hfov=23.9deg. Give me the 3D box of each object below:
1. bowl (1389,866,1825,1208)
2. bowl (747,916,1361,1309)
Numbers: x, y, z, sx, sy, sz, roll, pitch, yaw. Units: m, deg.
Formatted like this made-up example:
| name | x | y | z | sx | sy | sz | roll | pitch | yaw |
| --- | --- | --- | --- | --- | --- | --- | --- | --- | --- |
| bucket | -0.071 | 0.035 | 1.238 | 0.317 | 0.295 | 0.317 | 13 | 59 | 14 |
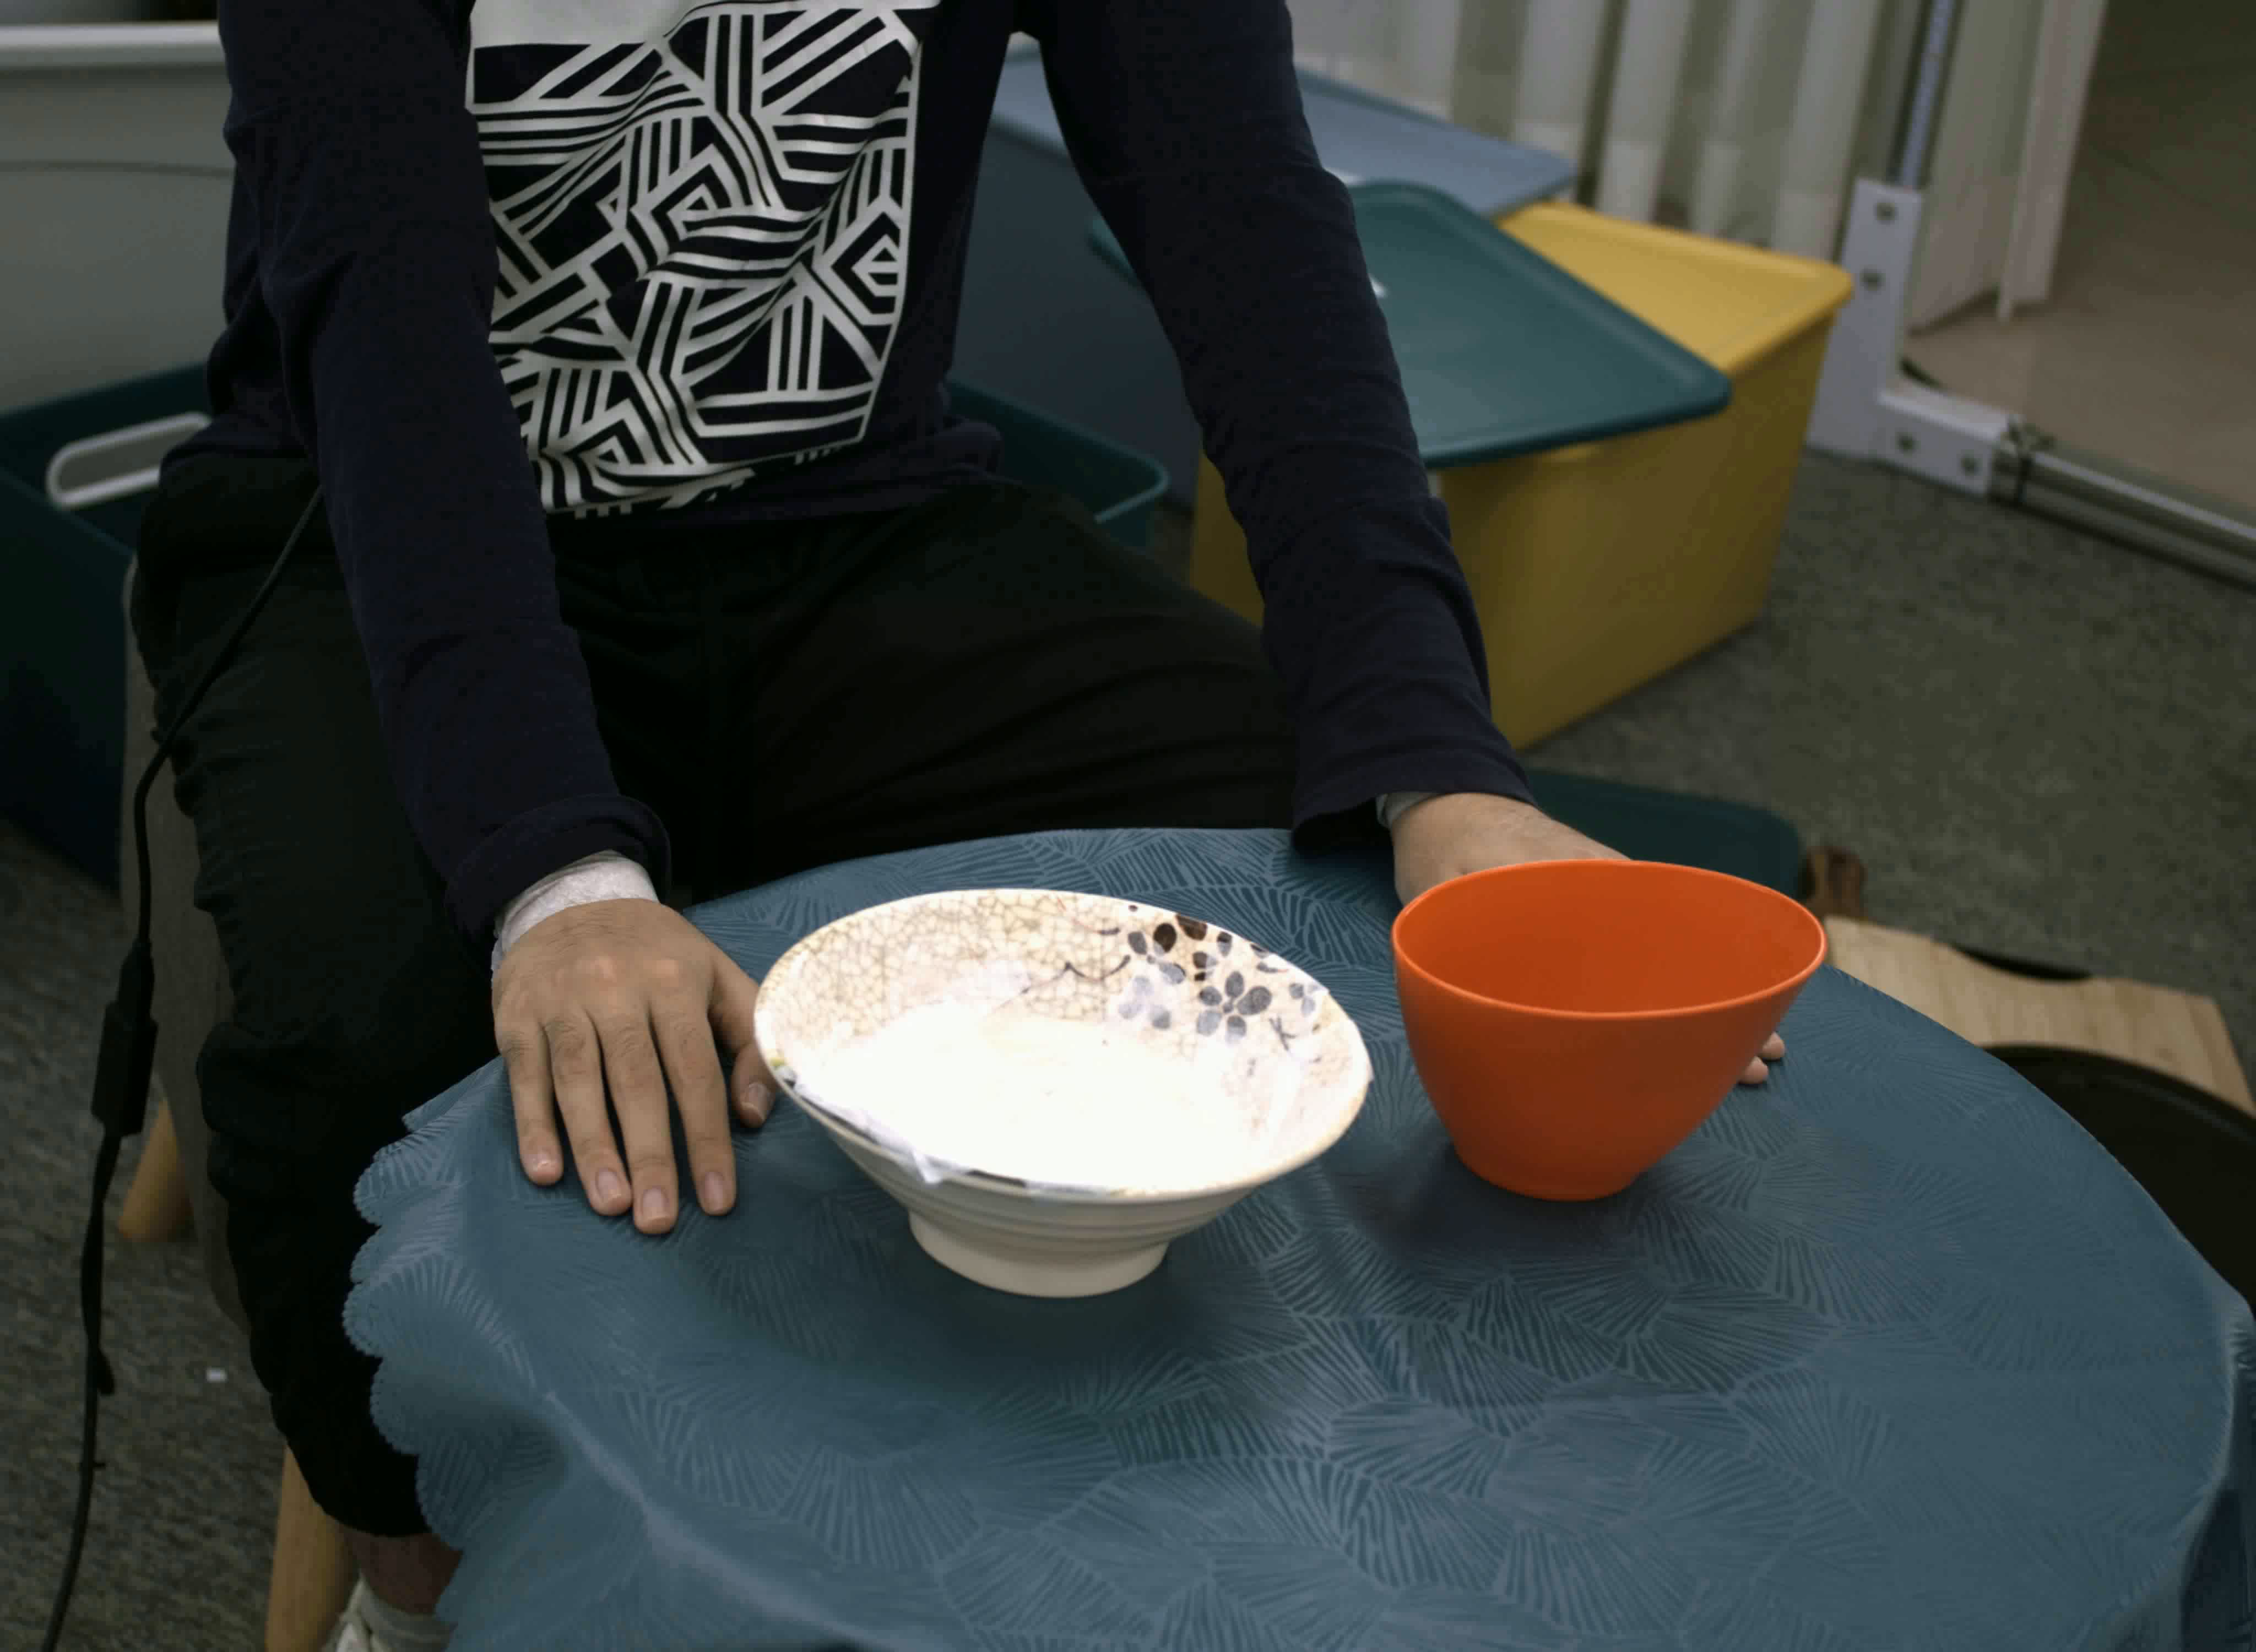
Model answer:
| name | x | y | z | sx | sy | sz | roll | pitch | yaw |
| --- | --- | --- | --- | --- | --- | --- | --- | --- | --- |
| bowl | 0.159 | 0.075 | 1.828 | 0.147 | 0.104 | 0.149 | 4 | 25 | -2 |
| bowl | -0.028 | 0.105 | 1.758 | 0.203 | 0.078 | 0.205 | 5 | 22 | -3 |
